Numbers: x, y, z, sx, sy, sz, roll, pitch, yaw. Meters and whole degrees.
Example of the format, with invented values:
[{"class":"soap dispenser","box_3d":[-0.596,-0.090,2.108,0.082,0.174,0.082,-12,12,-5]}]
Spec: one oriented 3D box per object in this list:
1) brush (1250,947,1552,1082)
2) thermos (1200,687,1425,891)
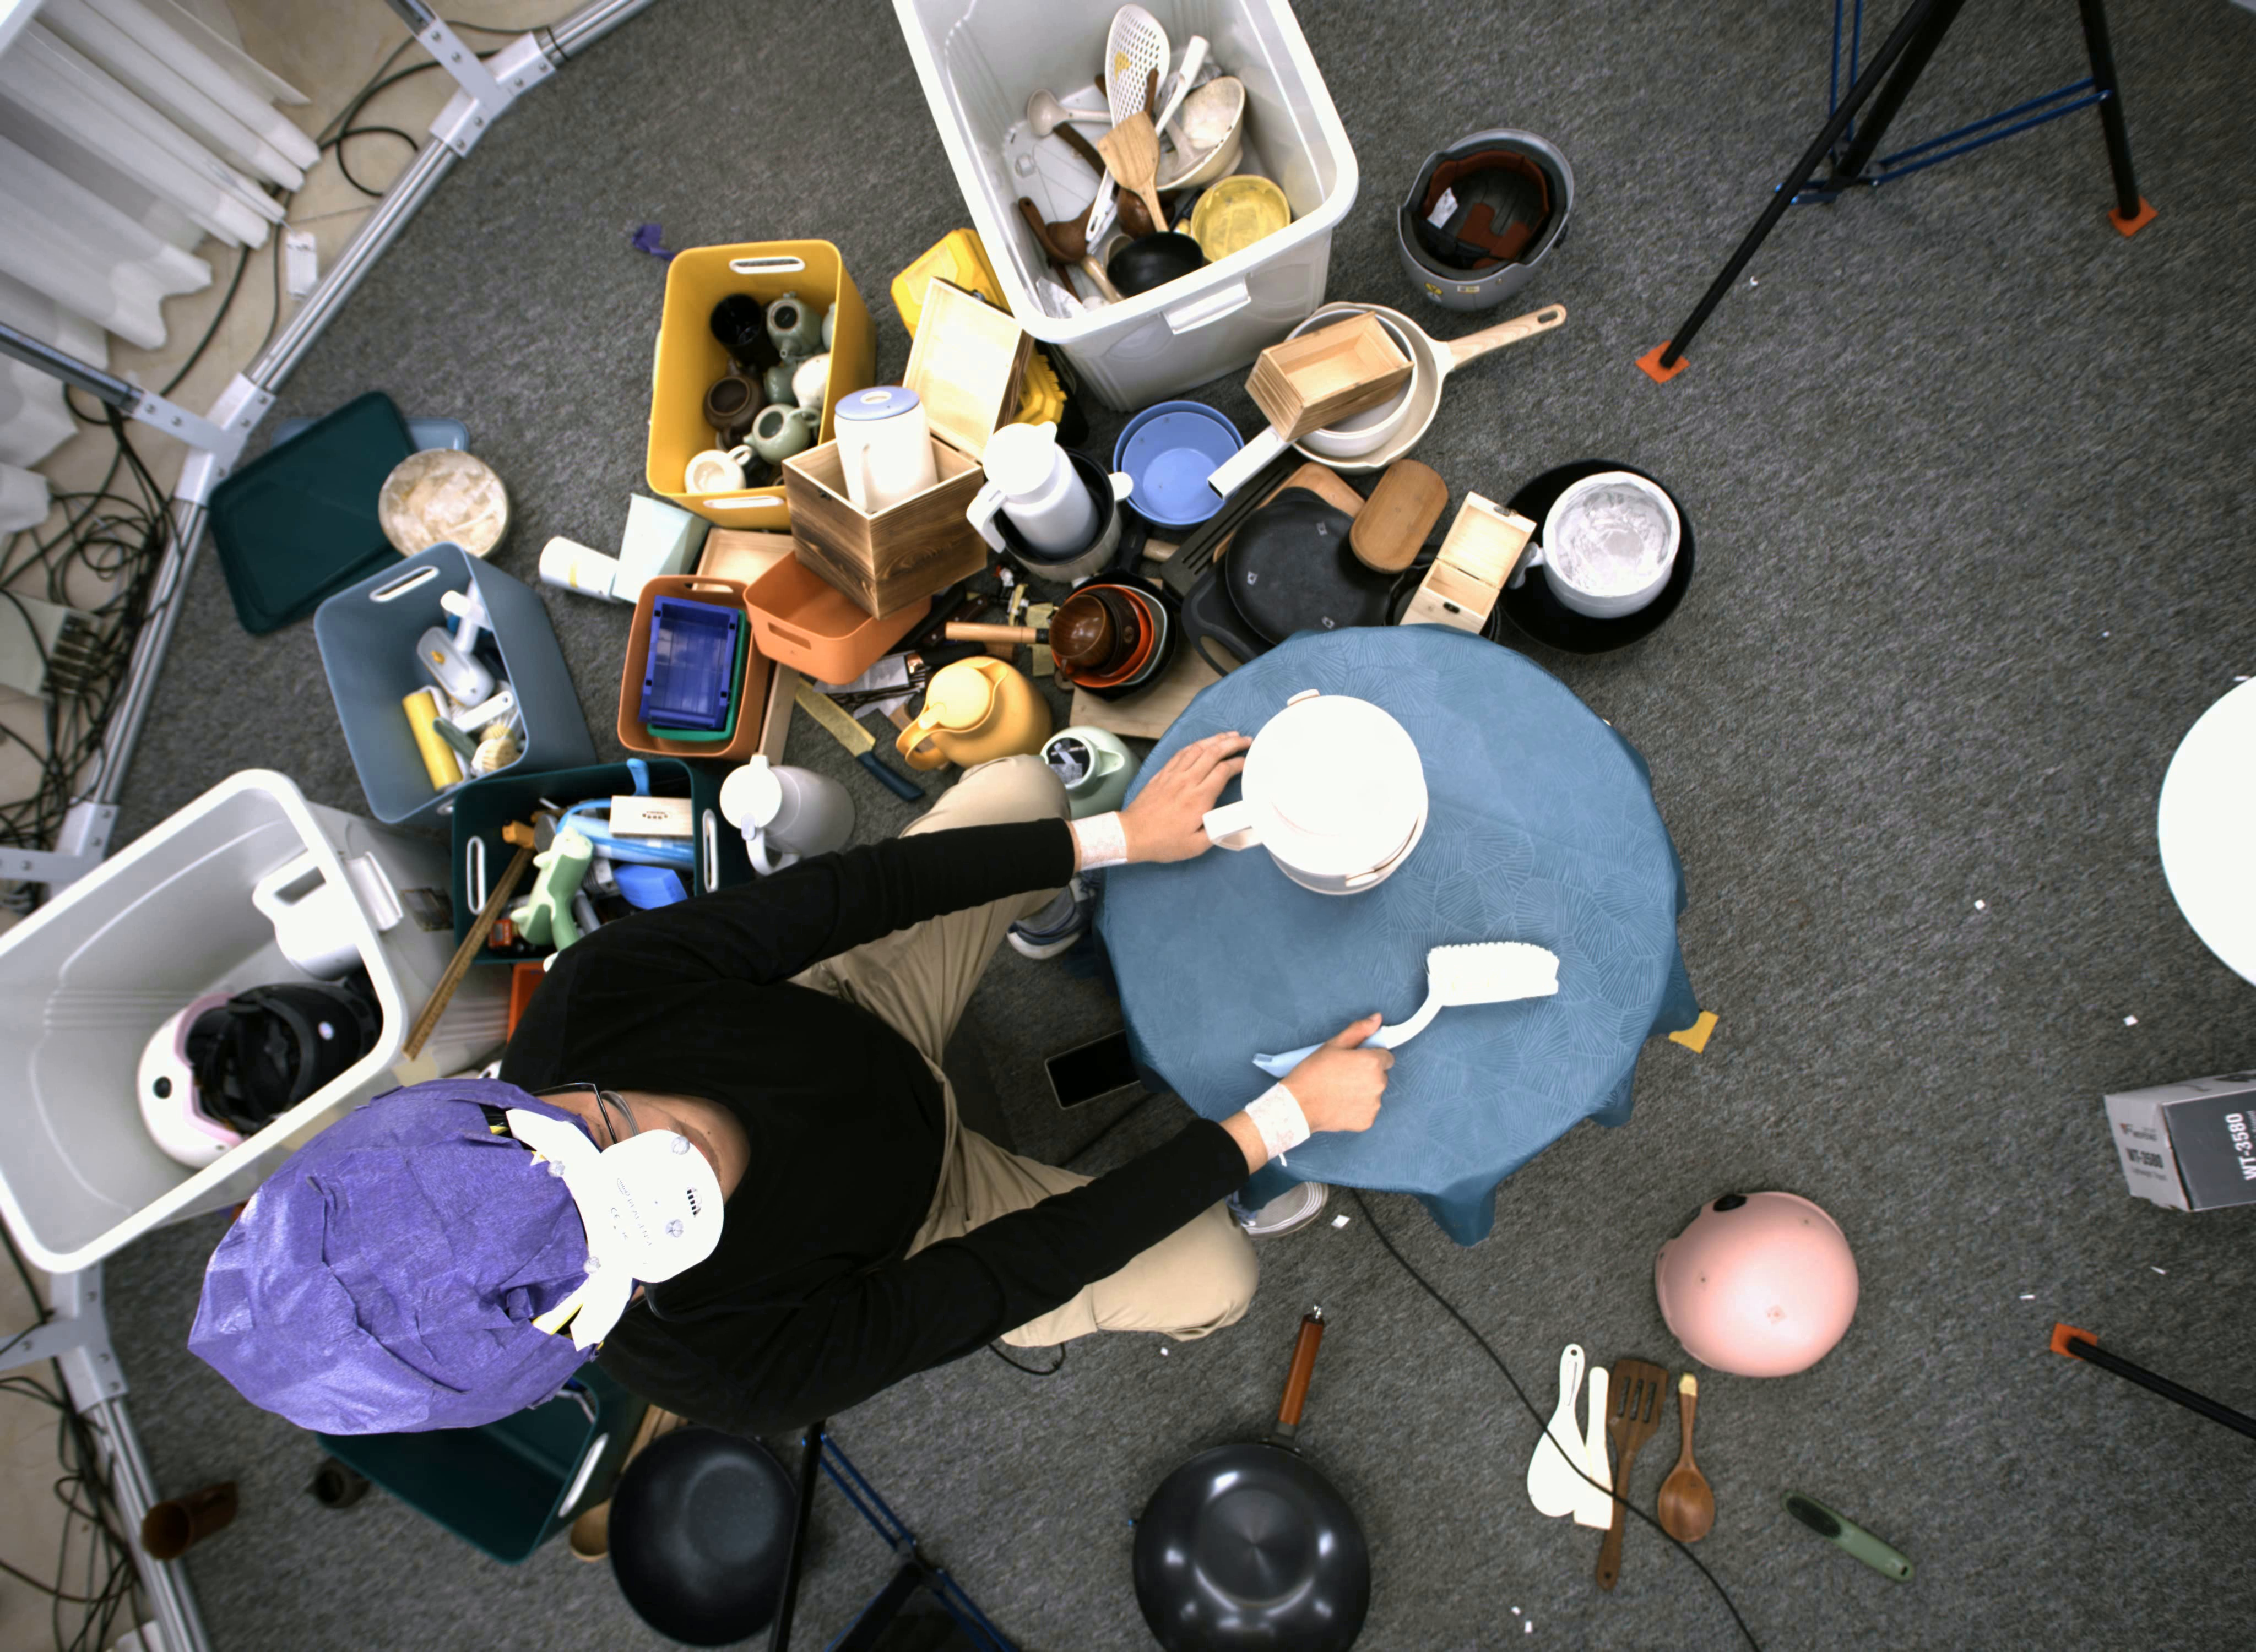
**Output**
[{"class":"brush","box_3d":[0.272,0.180,1.418,0.327,0.084,0.083,-17,69,11]},{"class":"thermos","box_3d":[0.175,-0.026,1.282,0.208,0.406,0.174,-18,83,7]}]
